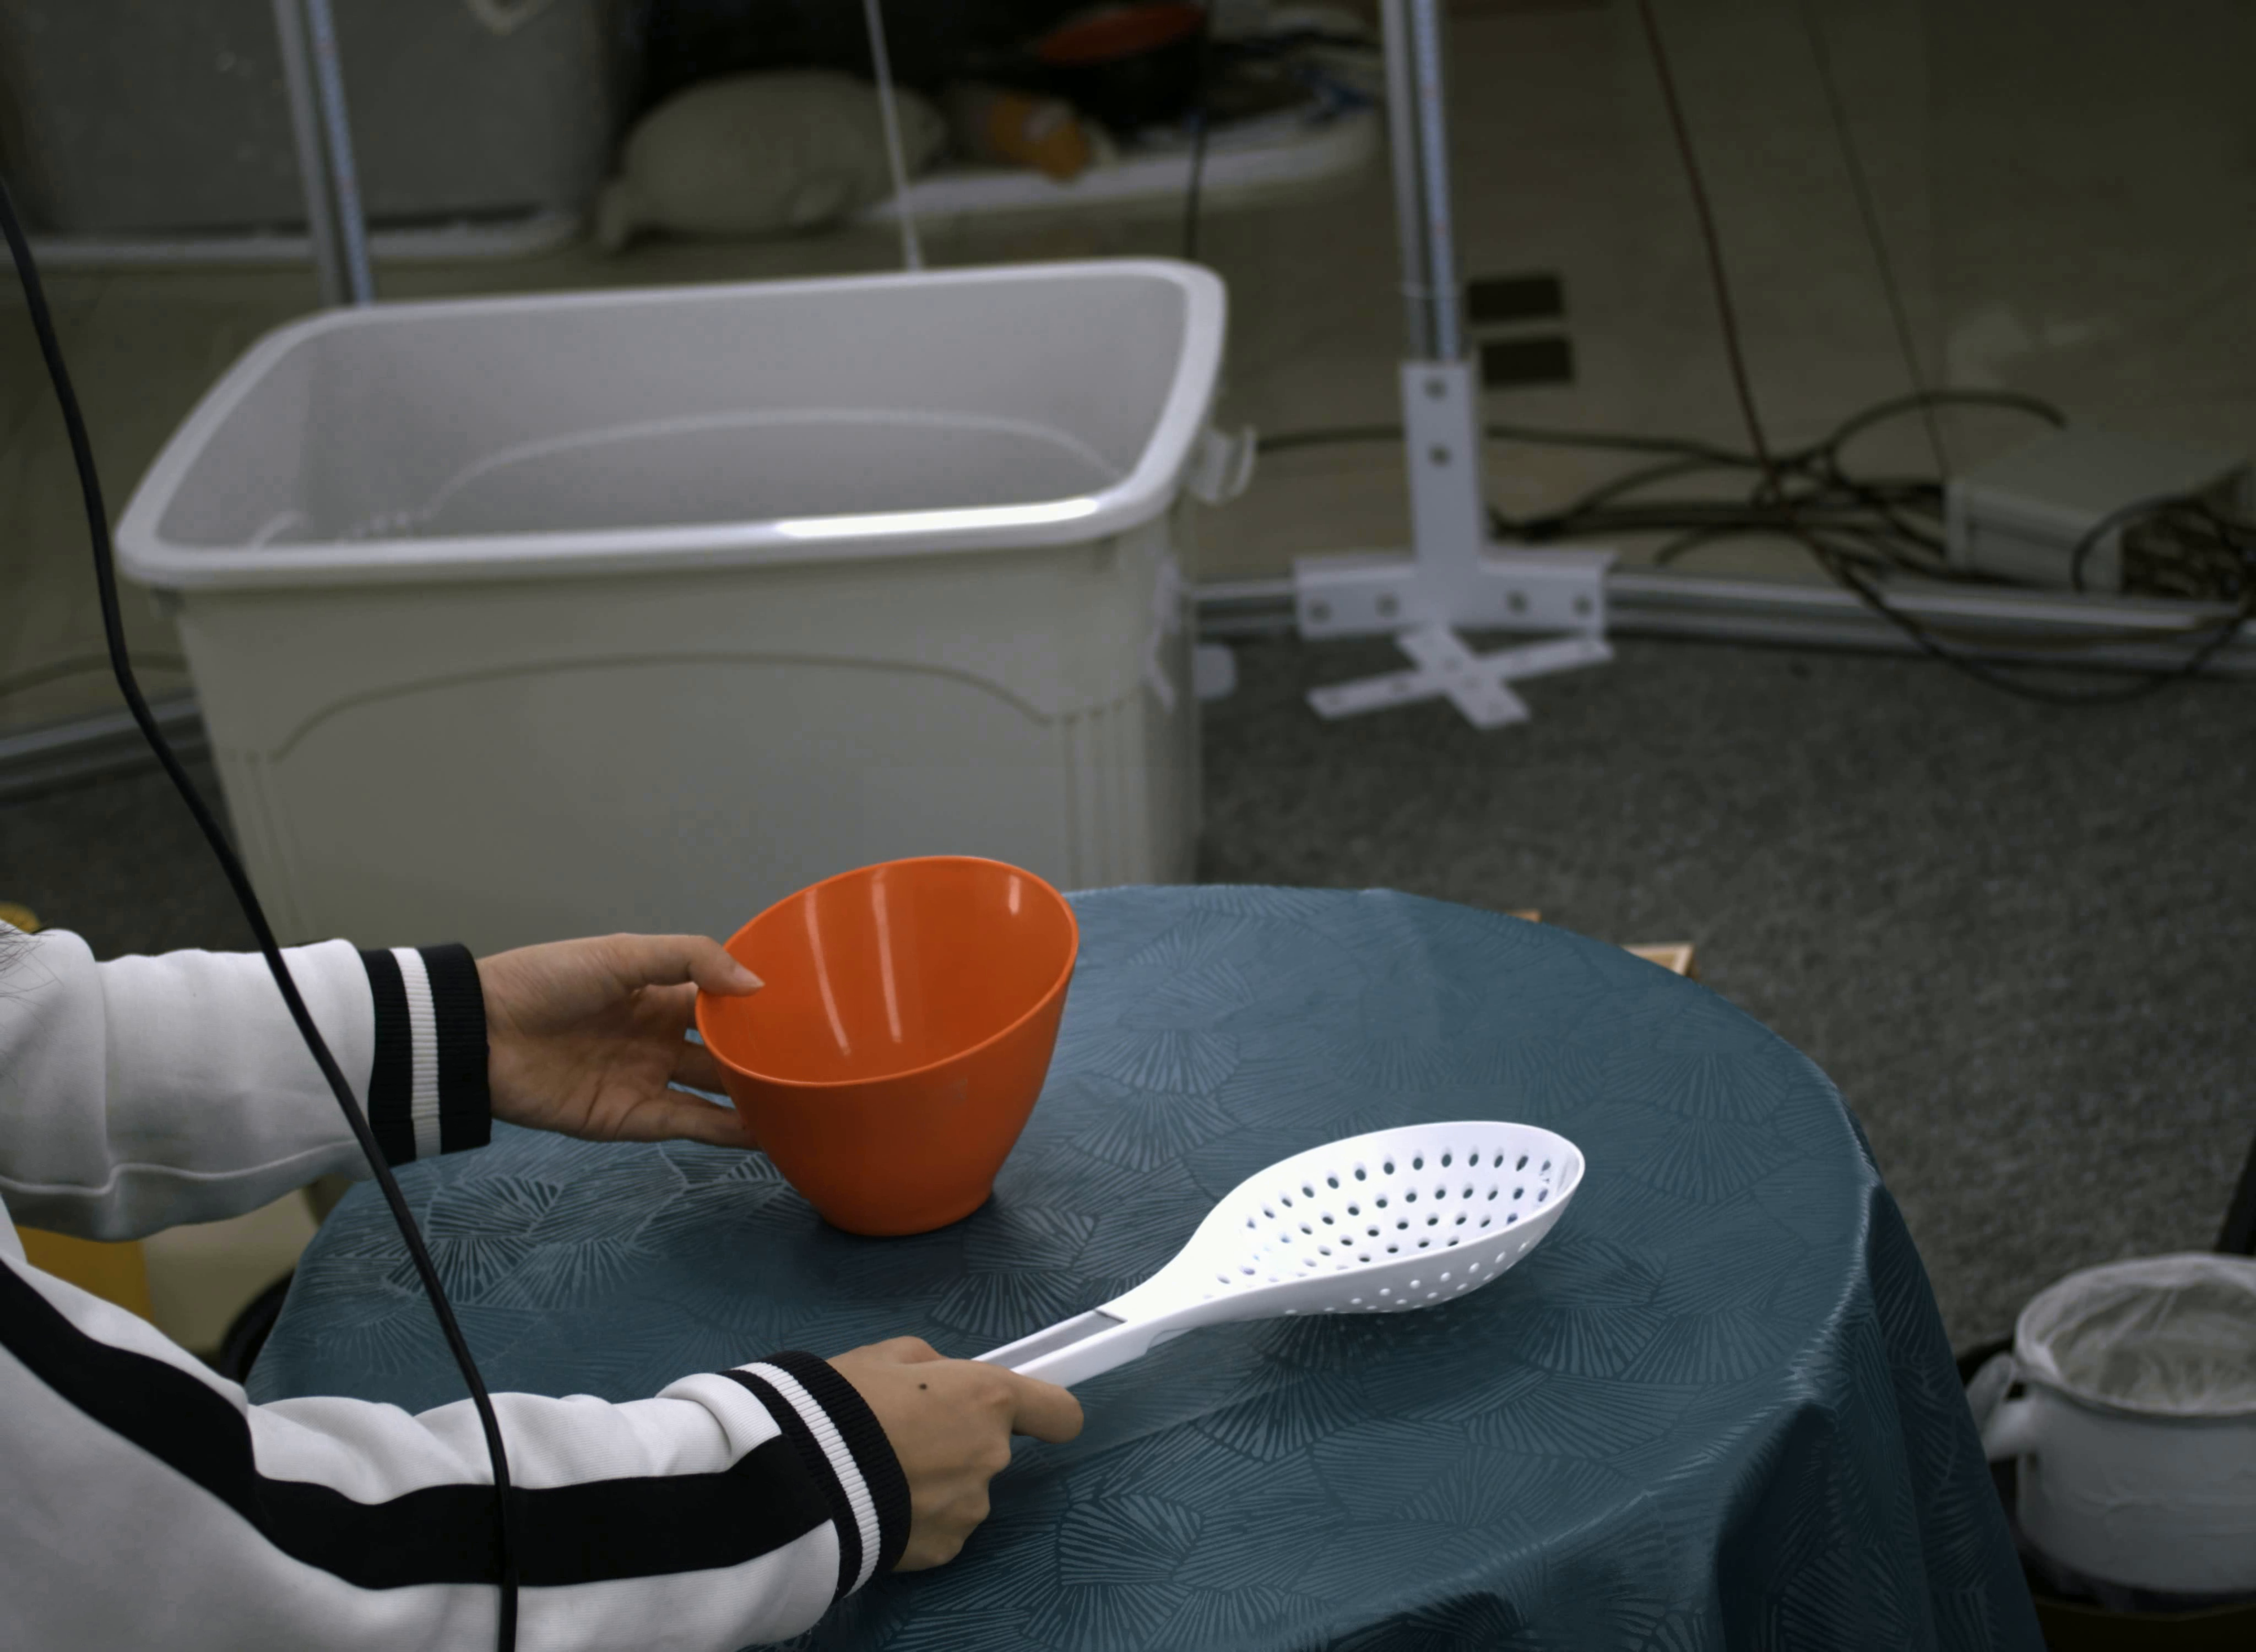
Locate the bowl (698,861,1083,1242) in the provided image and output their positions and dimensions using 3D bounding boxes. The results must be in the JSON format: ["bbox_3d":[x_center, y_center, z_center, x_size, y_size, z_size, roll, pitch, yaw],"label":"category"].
[{"bbox_3d":[-0.085,0.092,2.148,0.148,0.106,0.146,-5,25,3],"label":"bowl"}]

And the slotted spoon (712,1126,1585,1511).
[{"bbox_3d":[0.009,0.171,1.992,0.348,0.046,0.135,-15,15,-30],"label":"slotted spoon"}]
